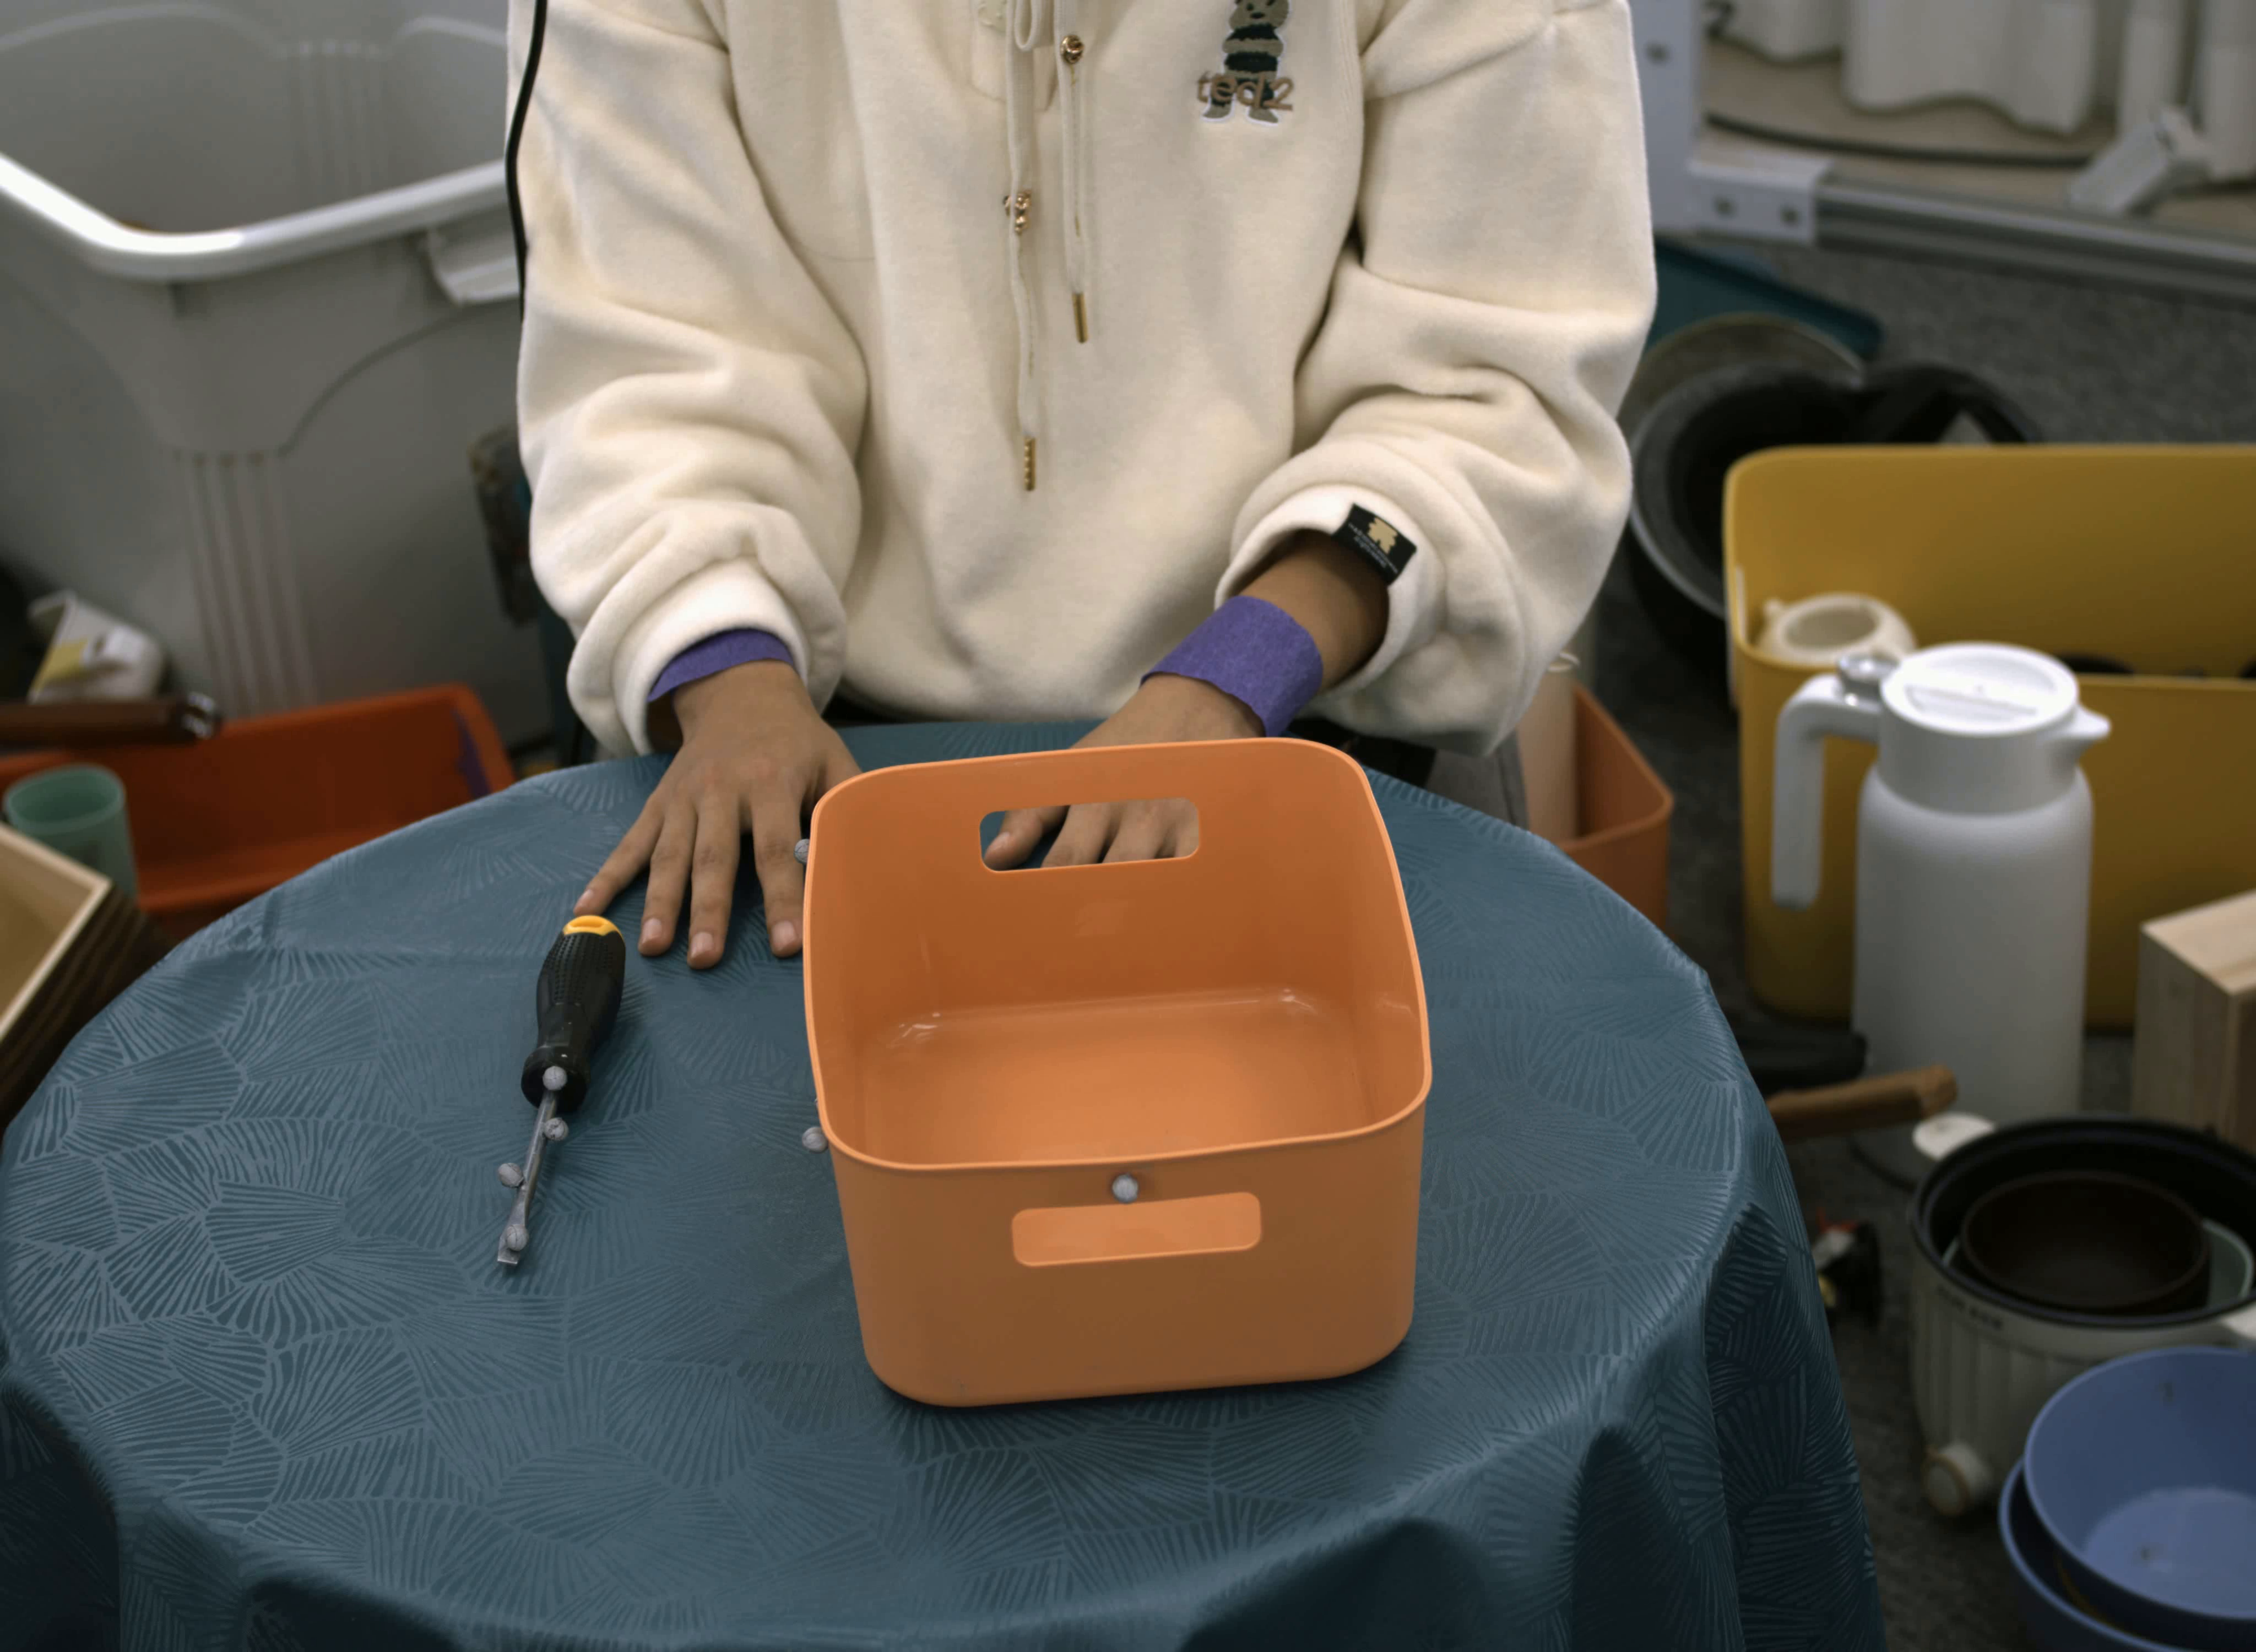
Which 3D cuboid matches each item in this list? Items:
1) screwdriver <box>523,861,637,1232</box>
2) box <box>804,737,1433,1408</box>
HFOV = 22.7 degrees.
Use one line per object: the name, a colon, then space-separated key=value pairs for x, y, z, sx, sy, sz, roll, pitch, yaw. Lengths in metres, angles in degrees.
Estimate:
screwdriver: x=-0.188 y=0.077 z=1.918 sx=0.031 sy=0.031 sz=0.201 roll=-2 pitch=36 yaw=2
box: x=-0.003 y=0.079 z=1.832 sx=0.198 sy=0.101 sz=0.277 roll=-5 pitch=27 yaw=-2
